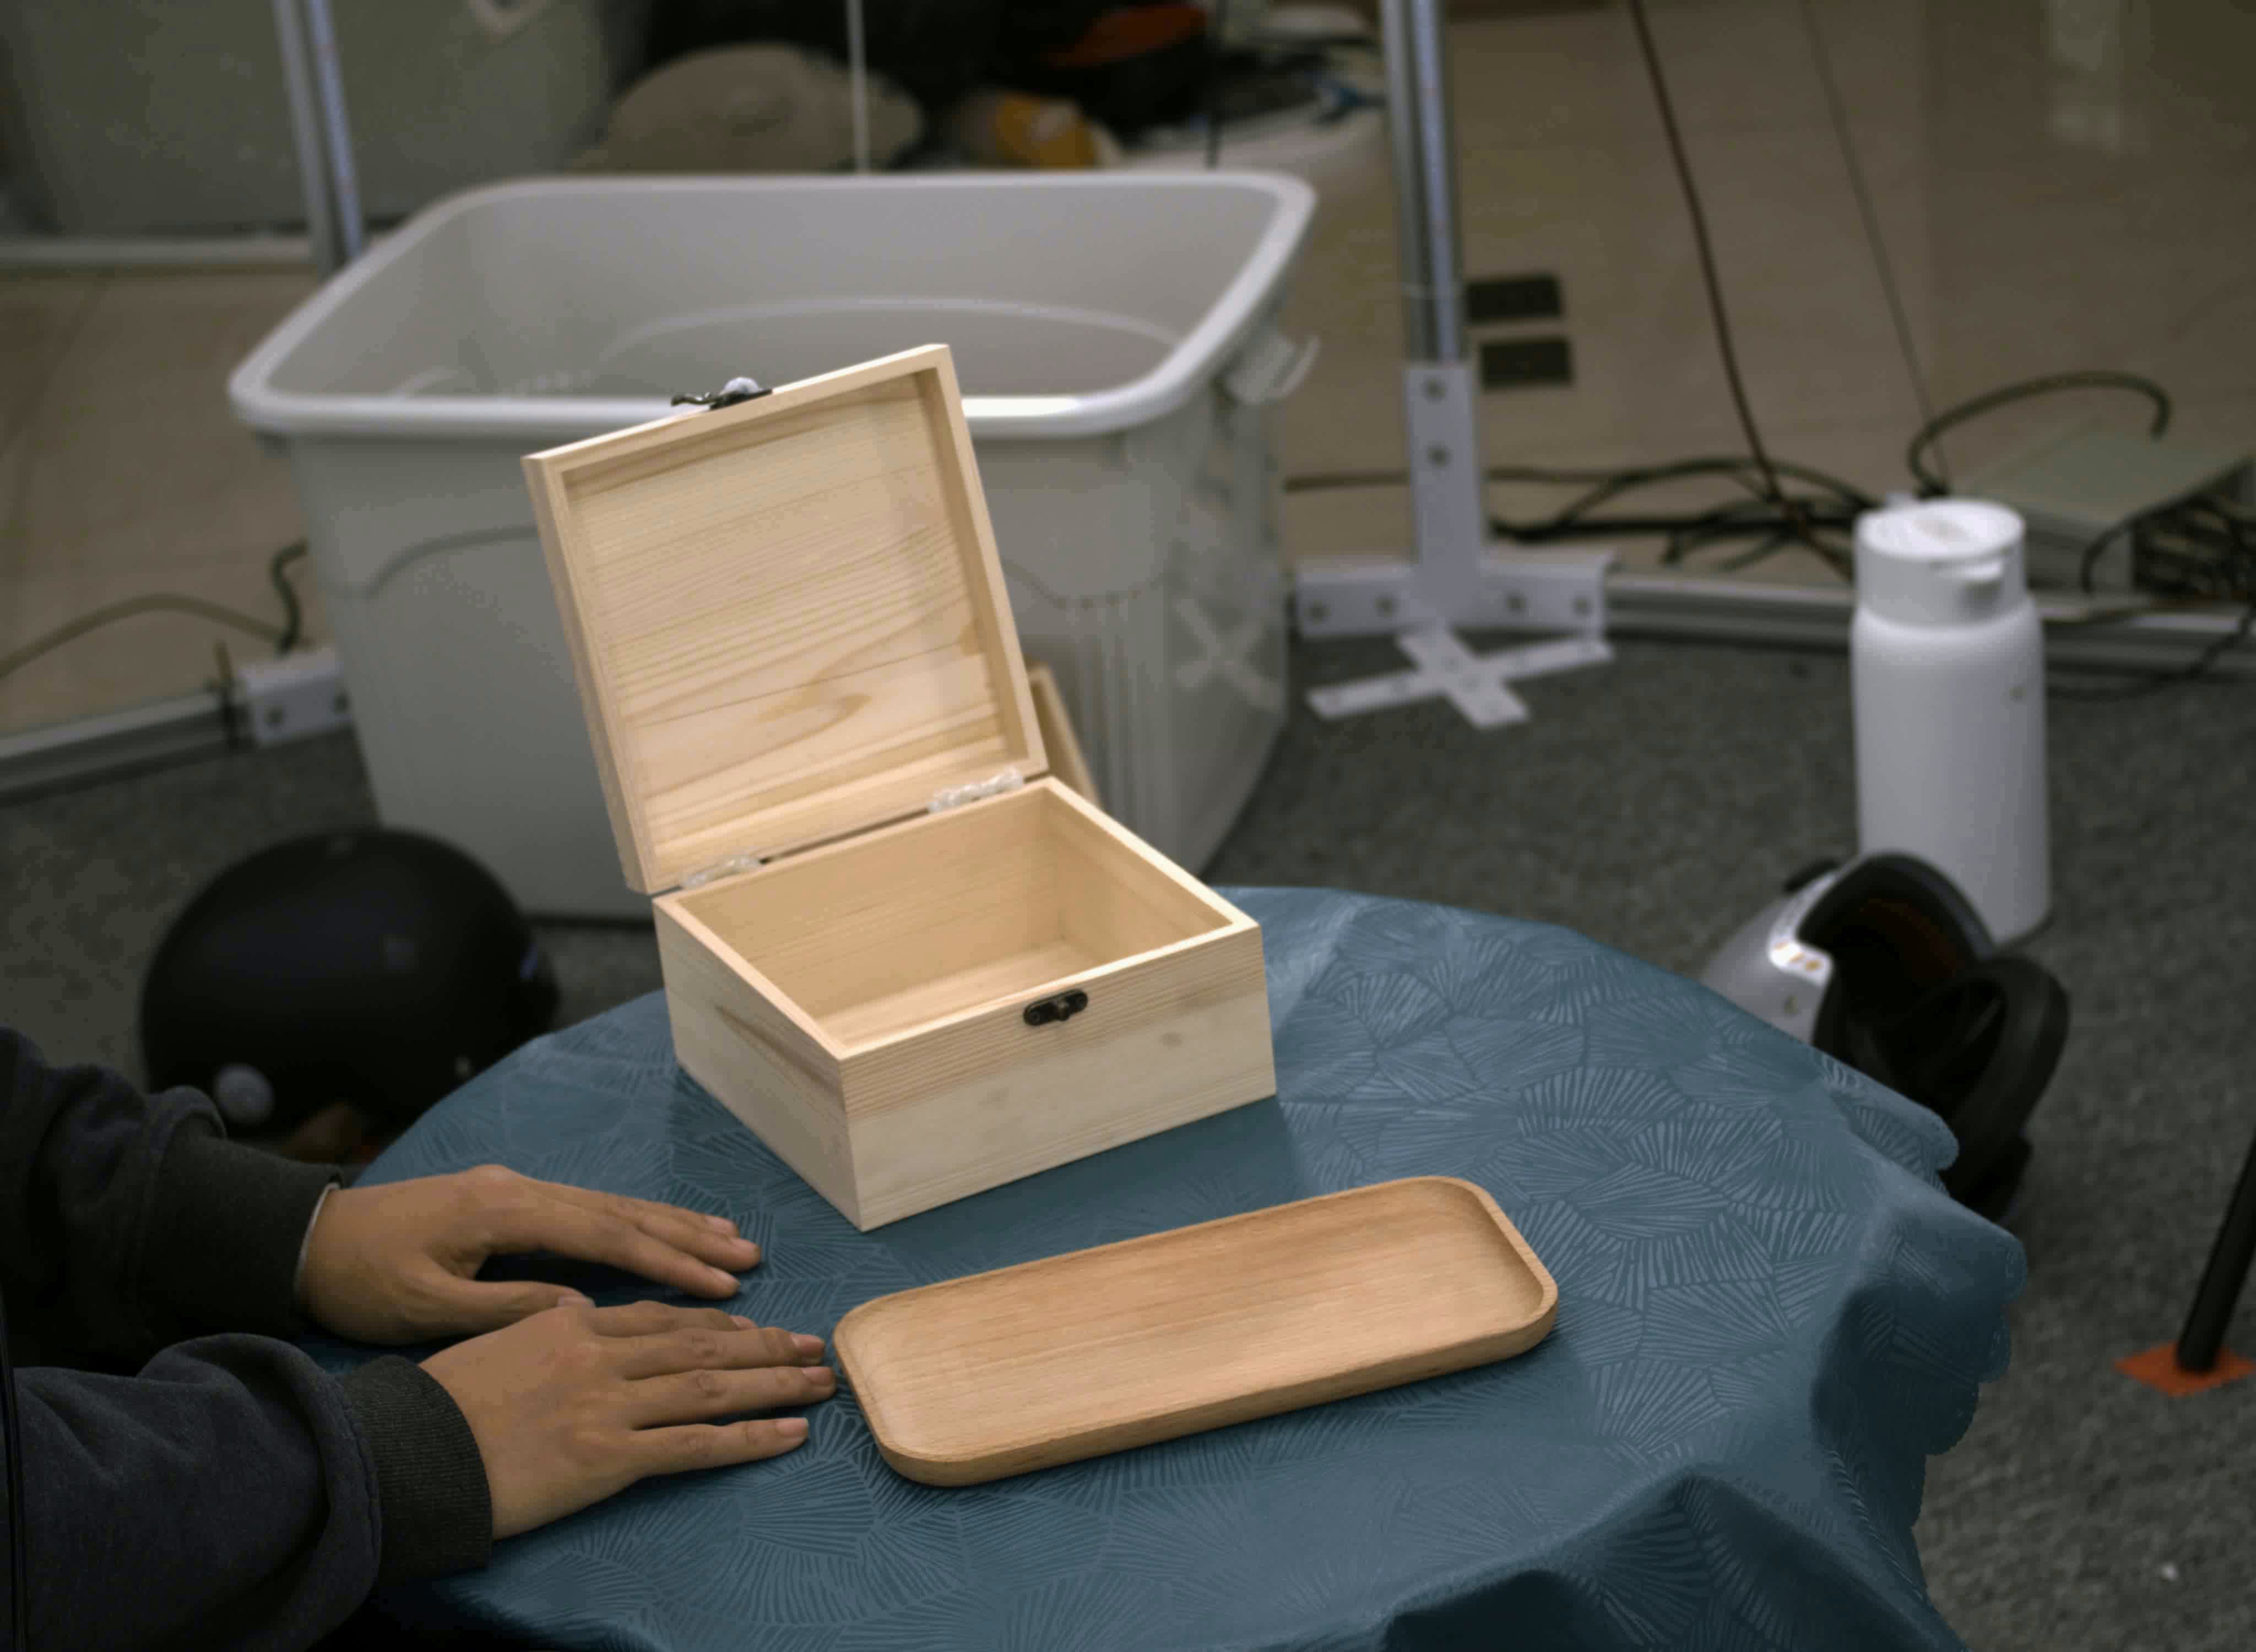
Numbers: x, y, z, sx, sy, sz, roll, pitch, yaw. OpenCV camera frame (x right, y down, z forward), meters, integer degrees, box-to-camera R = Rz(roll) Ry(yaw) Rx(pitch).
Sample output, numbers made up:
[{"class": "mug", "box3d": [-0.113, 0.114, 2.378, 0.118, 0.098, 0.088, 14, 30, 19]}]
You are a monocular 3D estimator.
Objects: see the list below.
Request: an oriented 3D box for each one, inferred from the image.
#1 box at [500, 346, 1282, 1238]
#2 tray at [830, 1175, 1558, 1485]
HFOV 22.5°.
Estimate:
[{"class": "box", "box3d": [-0.093, -0.021, 2.219, 0.181, 0.257, 0.262, -21, 27, -22]}, {"class": "tray", "box3d": [0.023, 0.180, 2.032, 0.250, 0.023, 0.129, -12, 23, -11]}]
